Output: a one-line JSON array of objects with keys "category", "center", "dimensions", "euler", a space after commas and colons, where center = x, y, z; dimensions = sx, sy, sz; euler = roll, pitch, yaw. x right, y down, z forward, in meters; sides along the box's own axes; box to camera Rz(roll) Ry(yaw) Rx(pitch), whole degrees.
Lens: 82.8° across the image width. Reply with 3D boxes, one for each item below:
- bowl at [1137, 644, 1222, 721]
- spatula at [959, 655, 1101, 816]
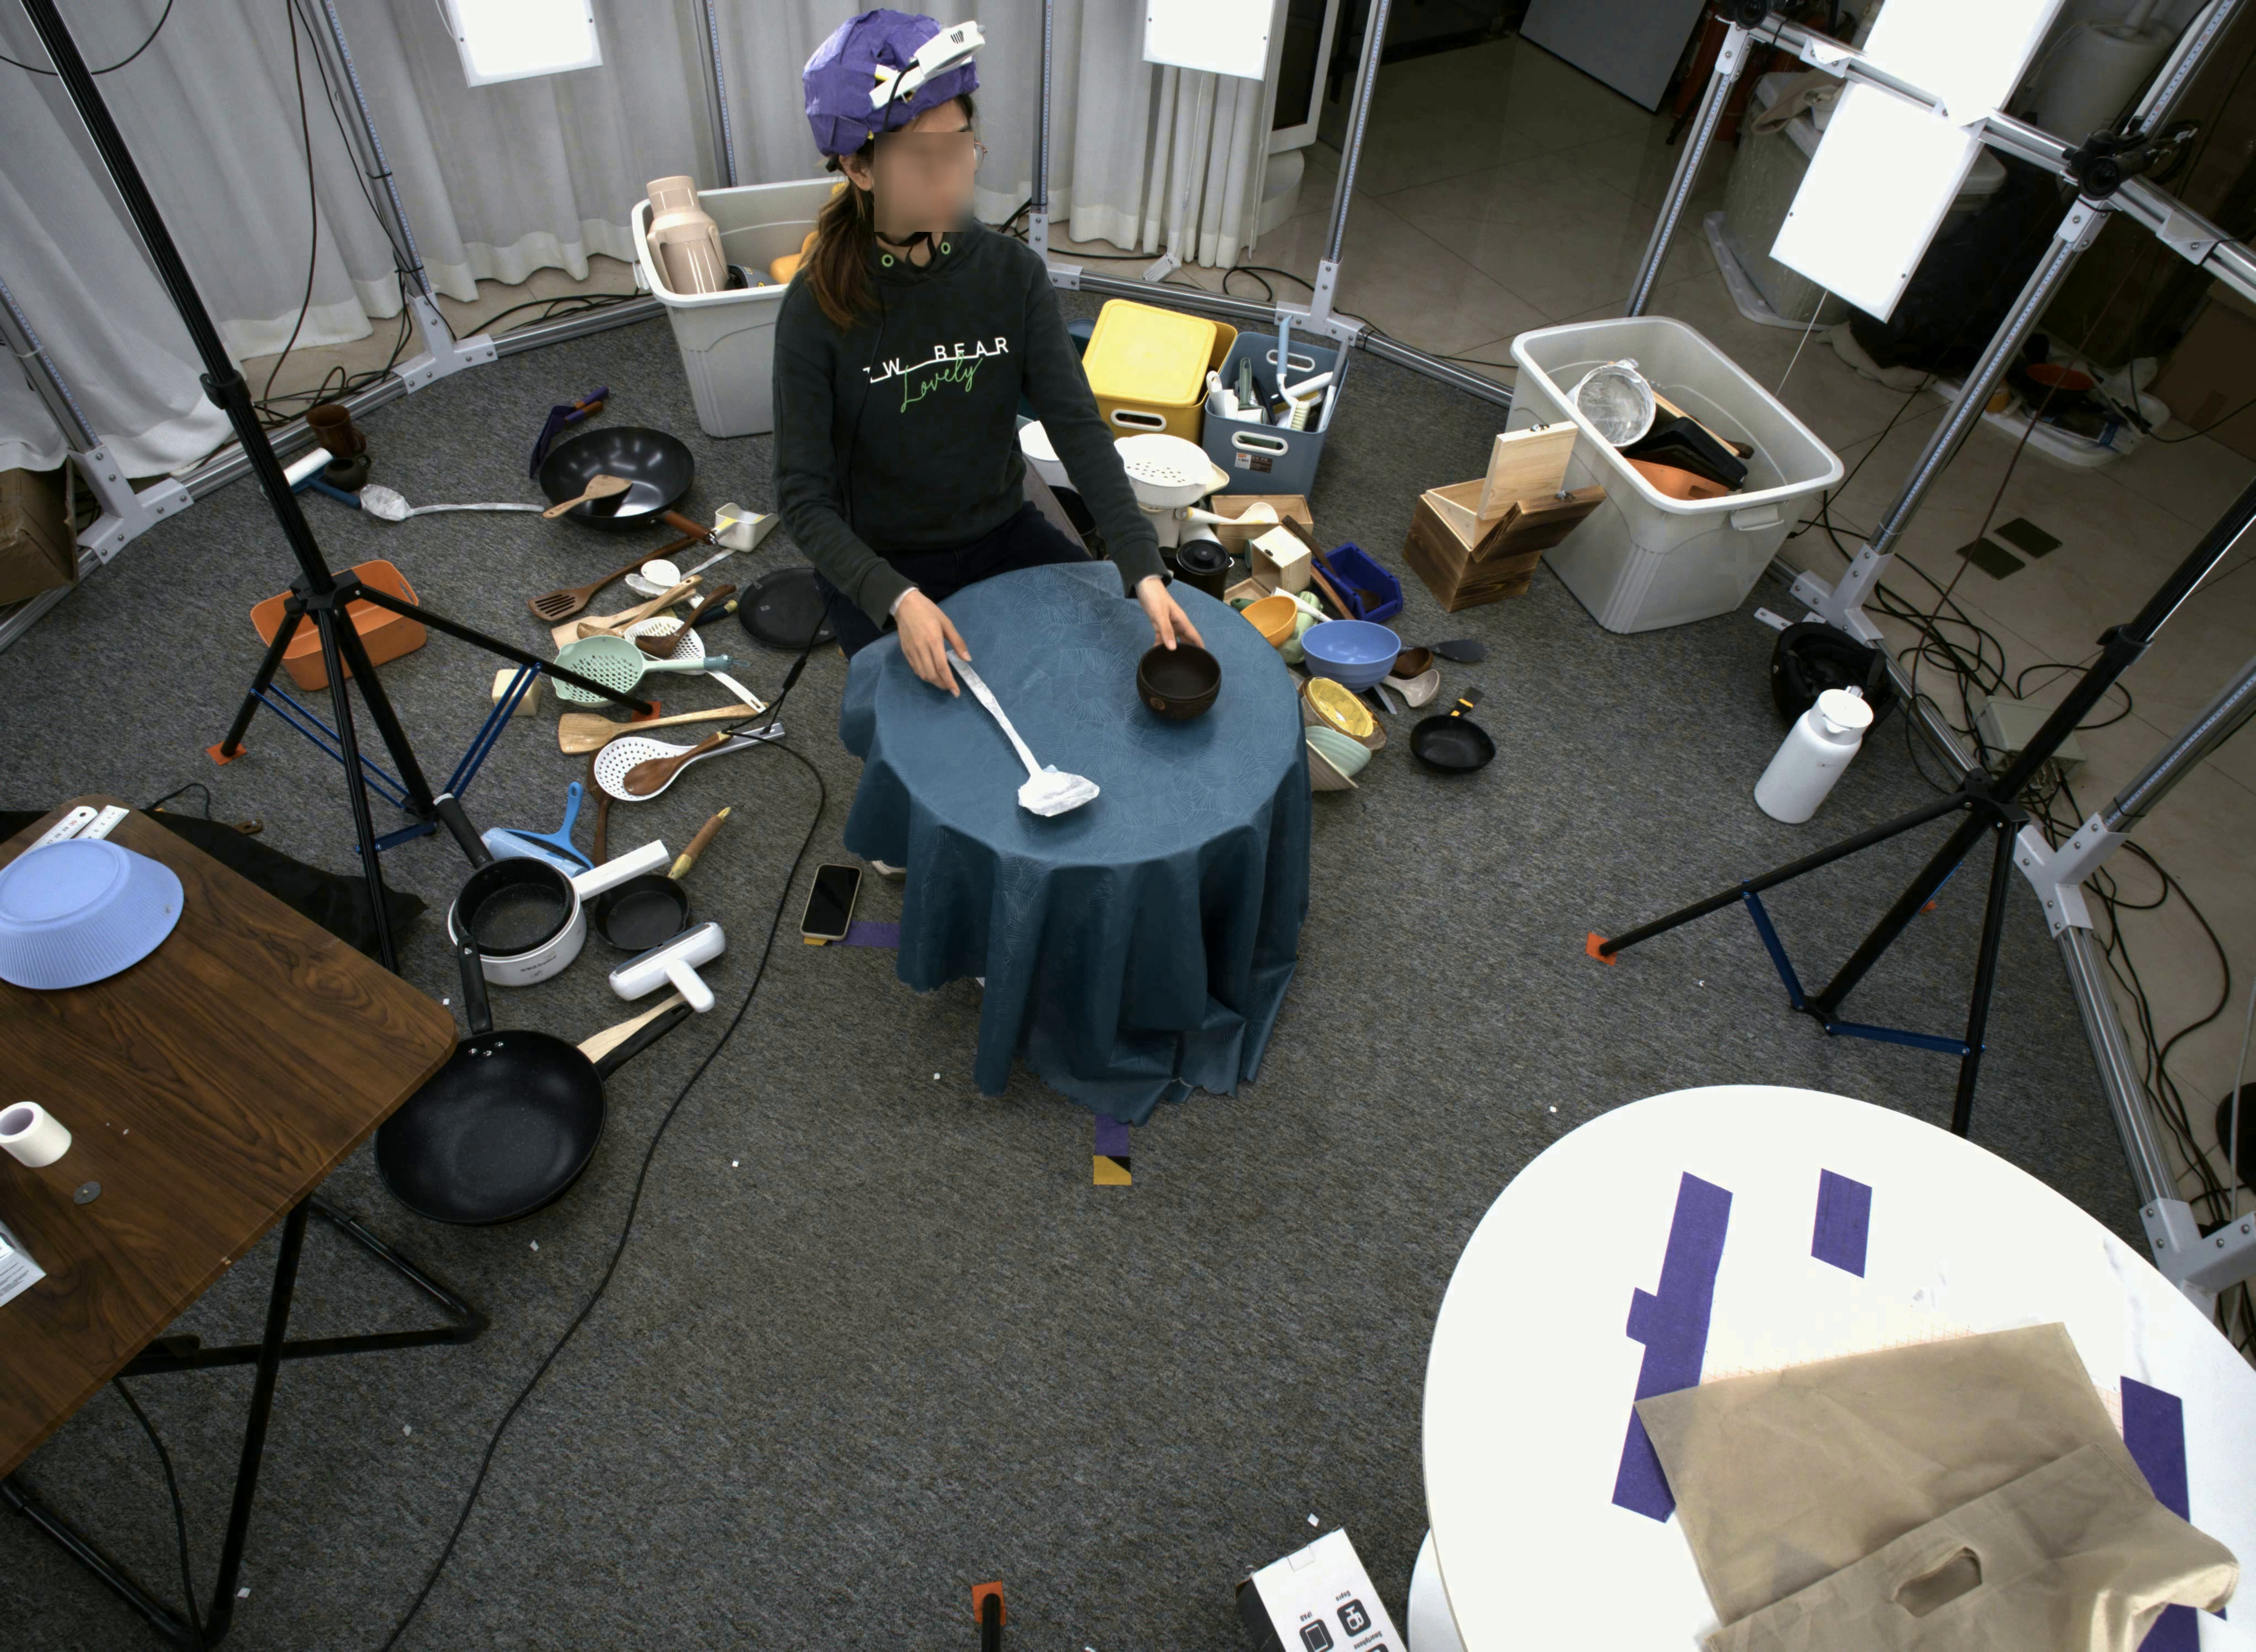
[{"category": "bowl", "center": [0.071, -0.195, 1.812], "dimensions": [0.118, 0.068, 0.121], "euler": [3, 47, -3]}, {"category": "spatula", "center": [-0.157, -0.135, 1.766], "dimensions": [0.099, 0.043, 0.373], "euler": [-22, 54, -19]}]
